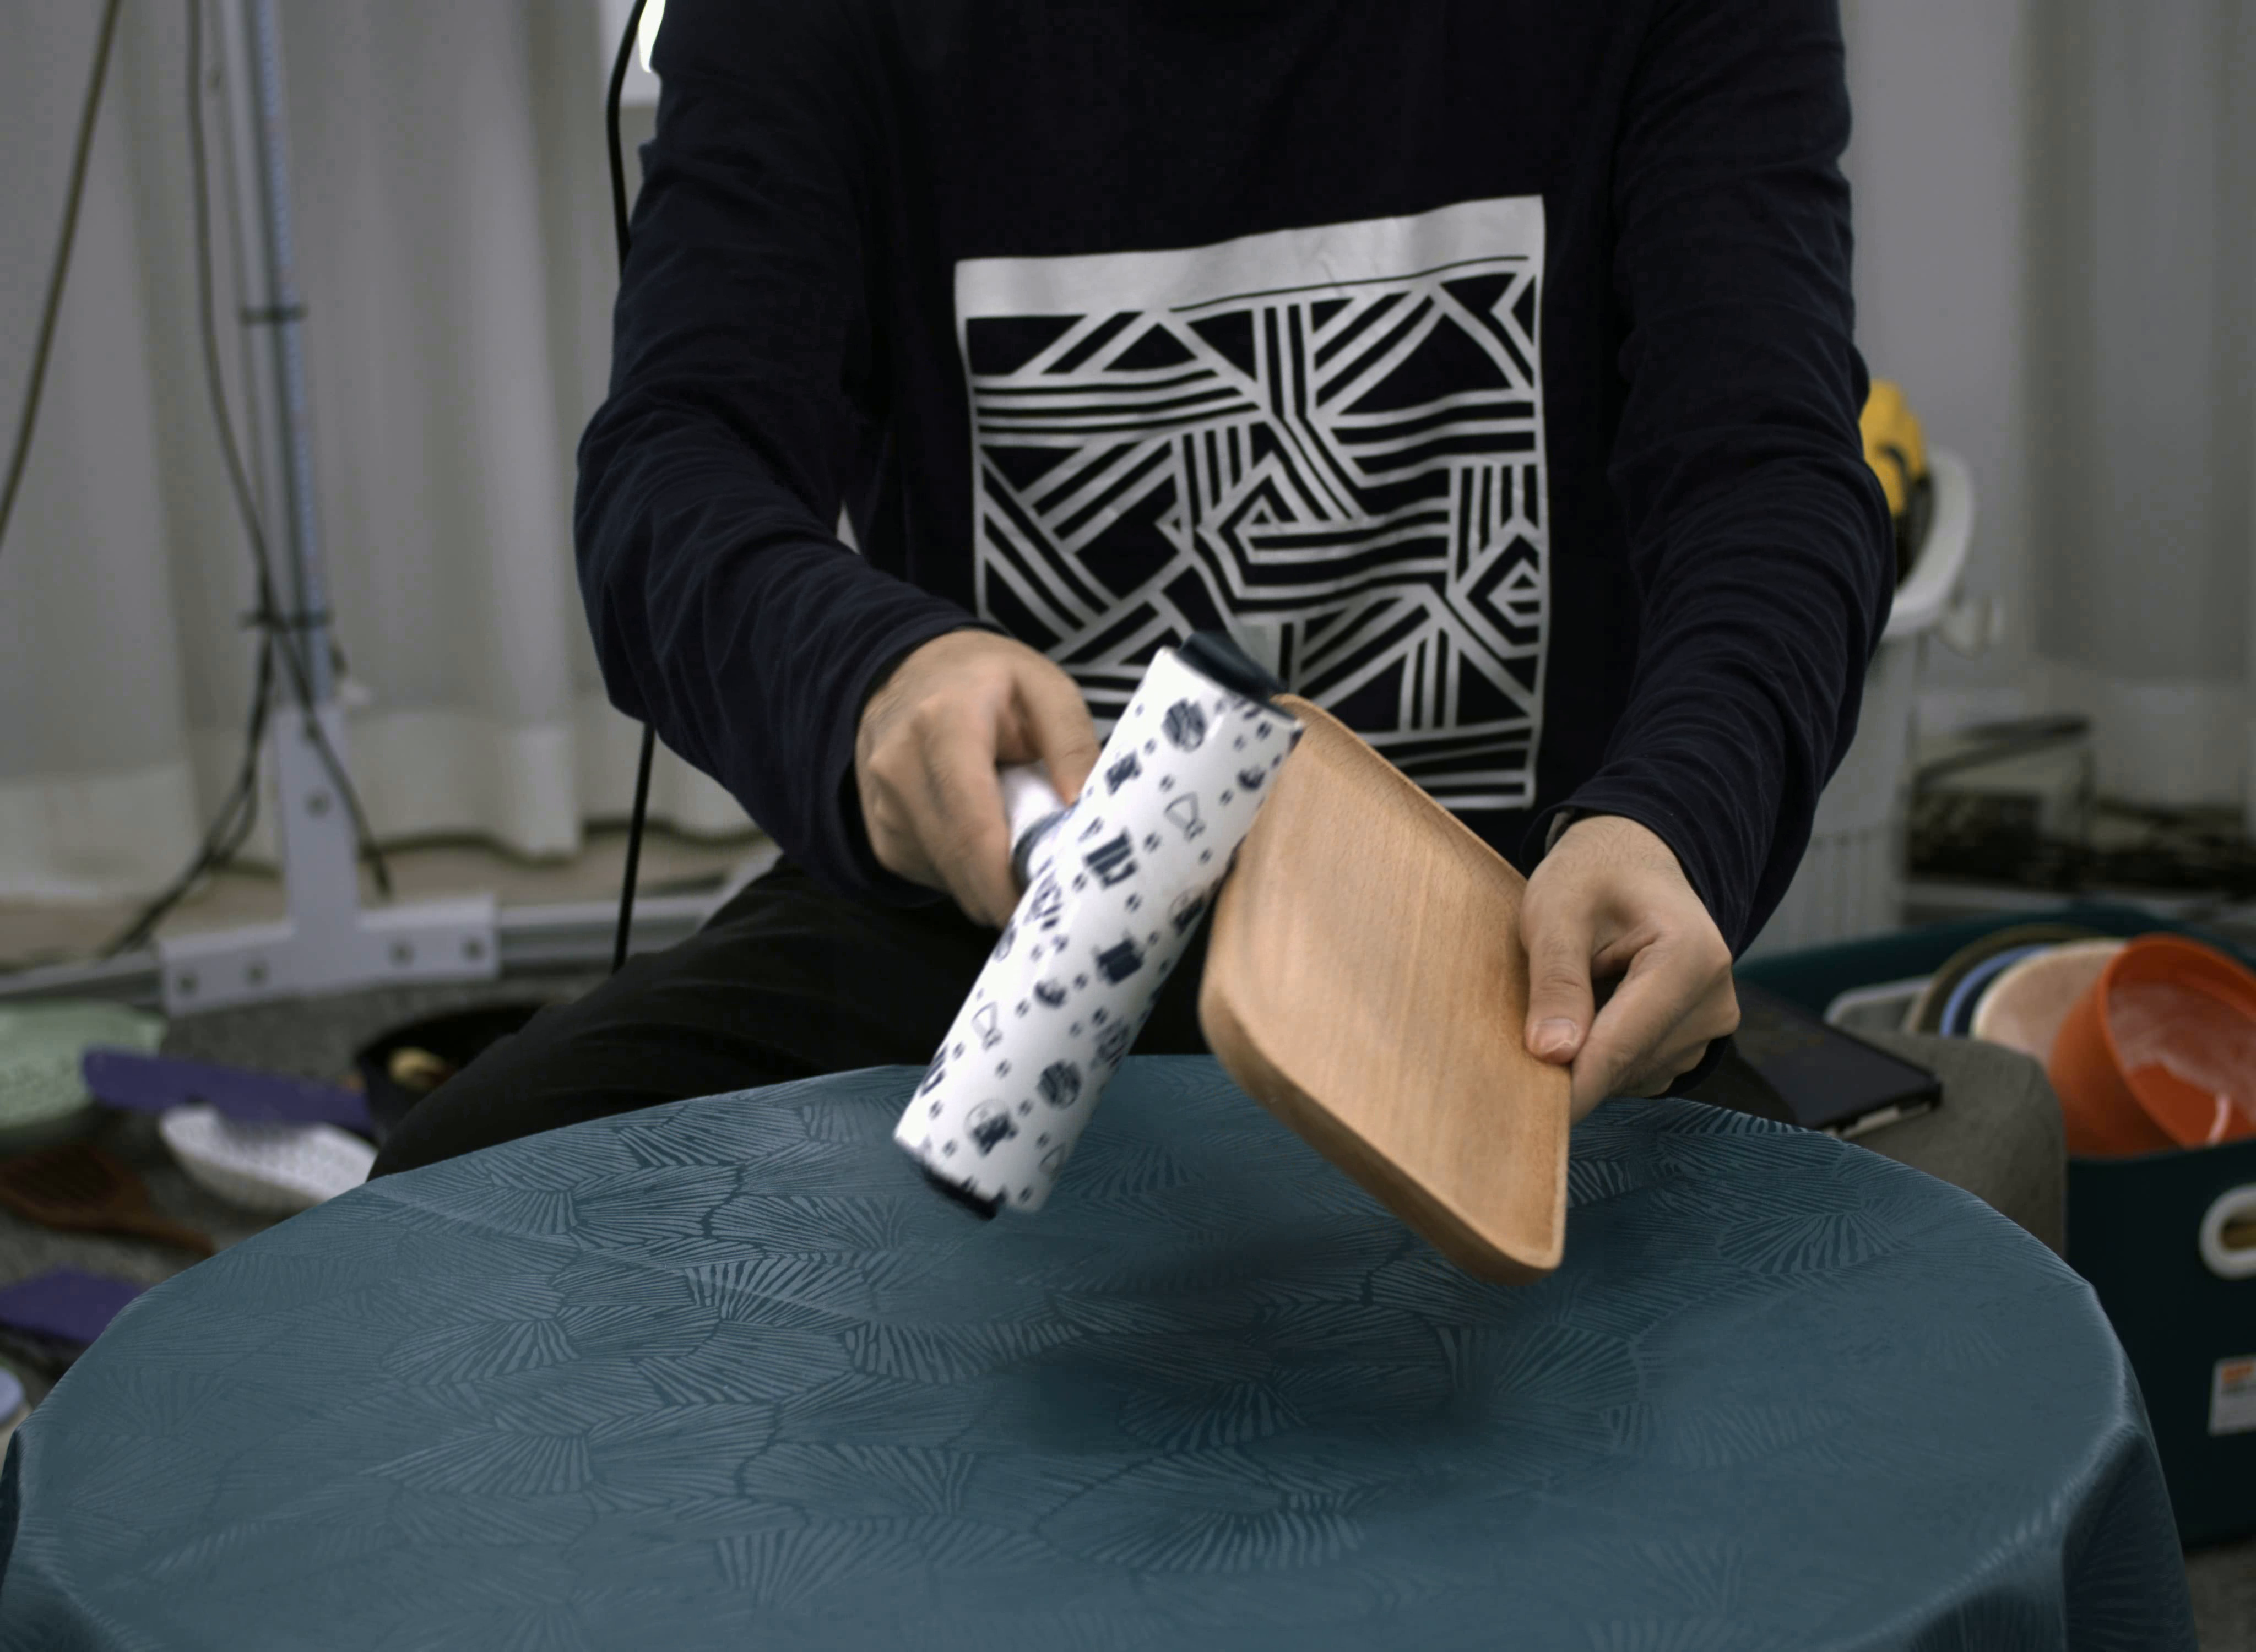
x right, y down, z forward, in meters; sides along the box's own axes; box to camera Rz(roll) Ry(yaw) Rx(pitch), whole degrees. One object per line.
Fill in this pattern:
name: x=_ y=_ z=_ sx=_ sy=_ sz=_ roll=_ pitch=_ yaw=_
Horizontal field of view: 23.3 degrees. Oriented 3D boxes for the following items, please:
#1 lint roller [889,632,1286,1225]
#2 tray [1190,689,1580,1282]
lint roller: x=-0.026 y=0.011 z=1.648 sx=0.050 sy=0.176 sz=0.248 roll=26 pitch=6 yaw=-13
tray: x=0.076 y=0.043 z=1.584 sx=0.023 sy=0.130 sz=0.253 roll=-44 pitch=11 yaw=20
